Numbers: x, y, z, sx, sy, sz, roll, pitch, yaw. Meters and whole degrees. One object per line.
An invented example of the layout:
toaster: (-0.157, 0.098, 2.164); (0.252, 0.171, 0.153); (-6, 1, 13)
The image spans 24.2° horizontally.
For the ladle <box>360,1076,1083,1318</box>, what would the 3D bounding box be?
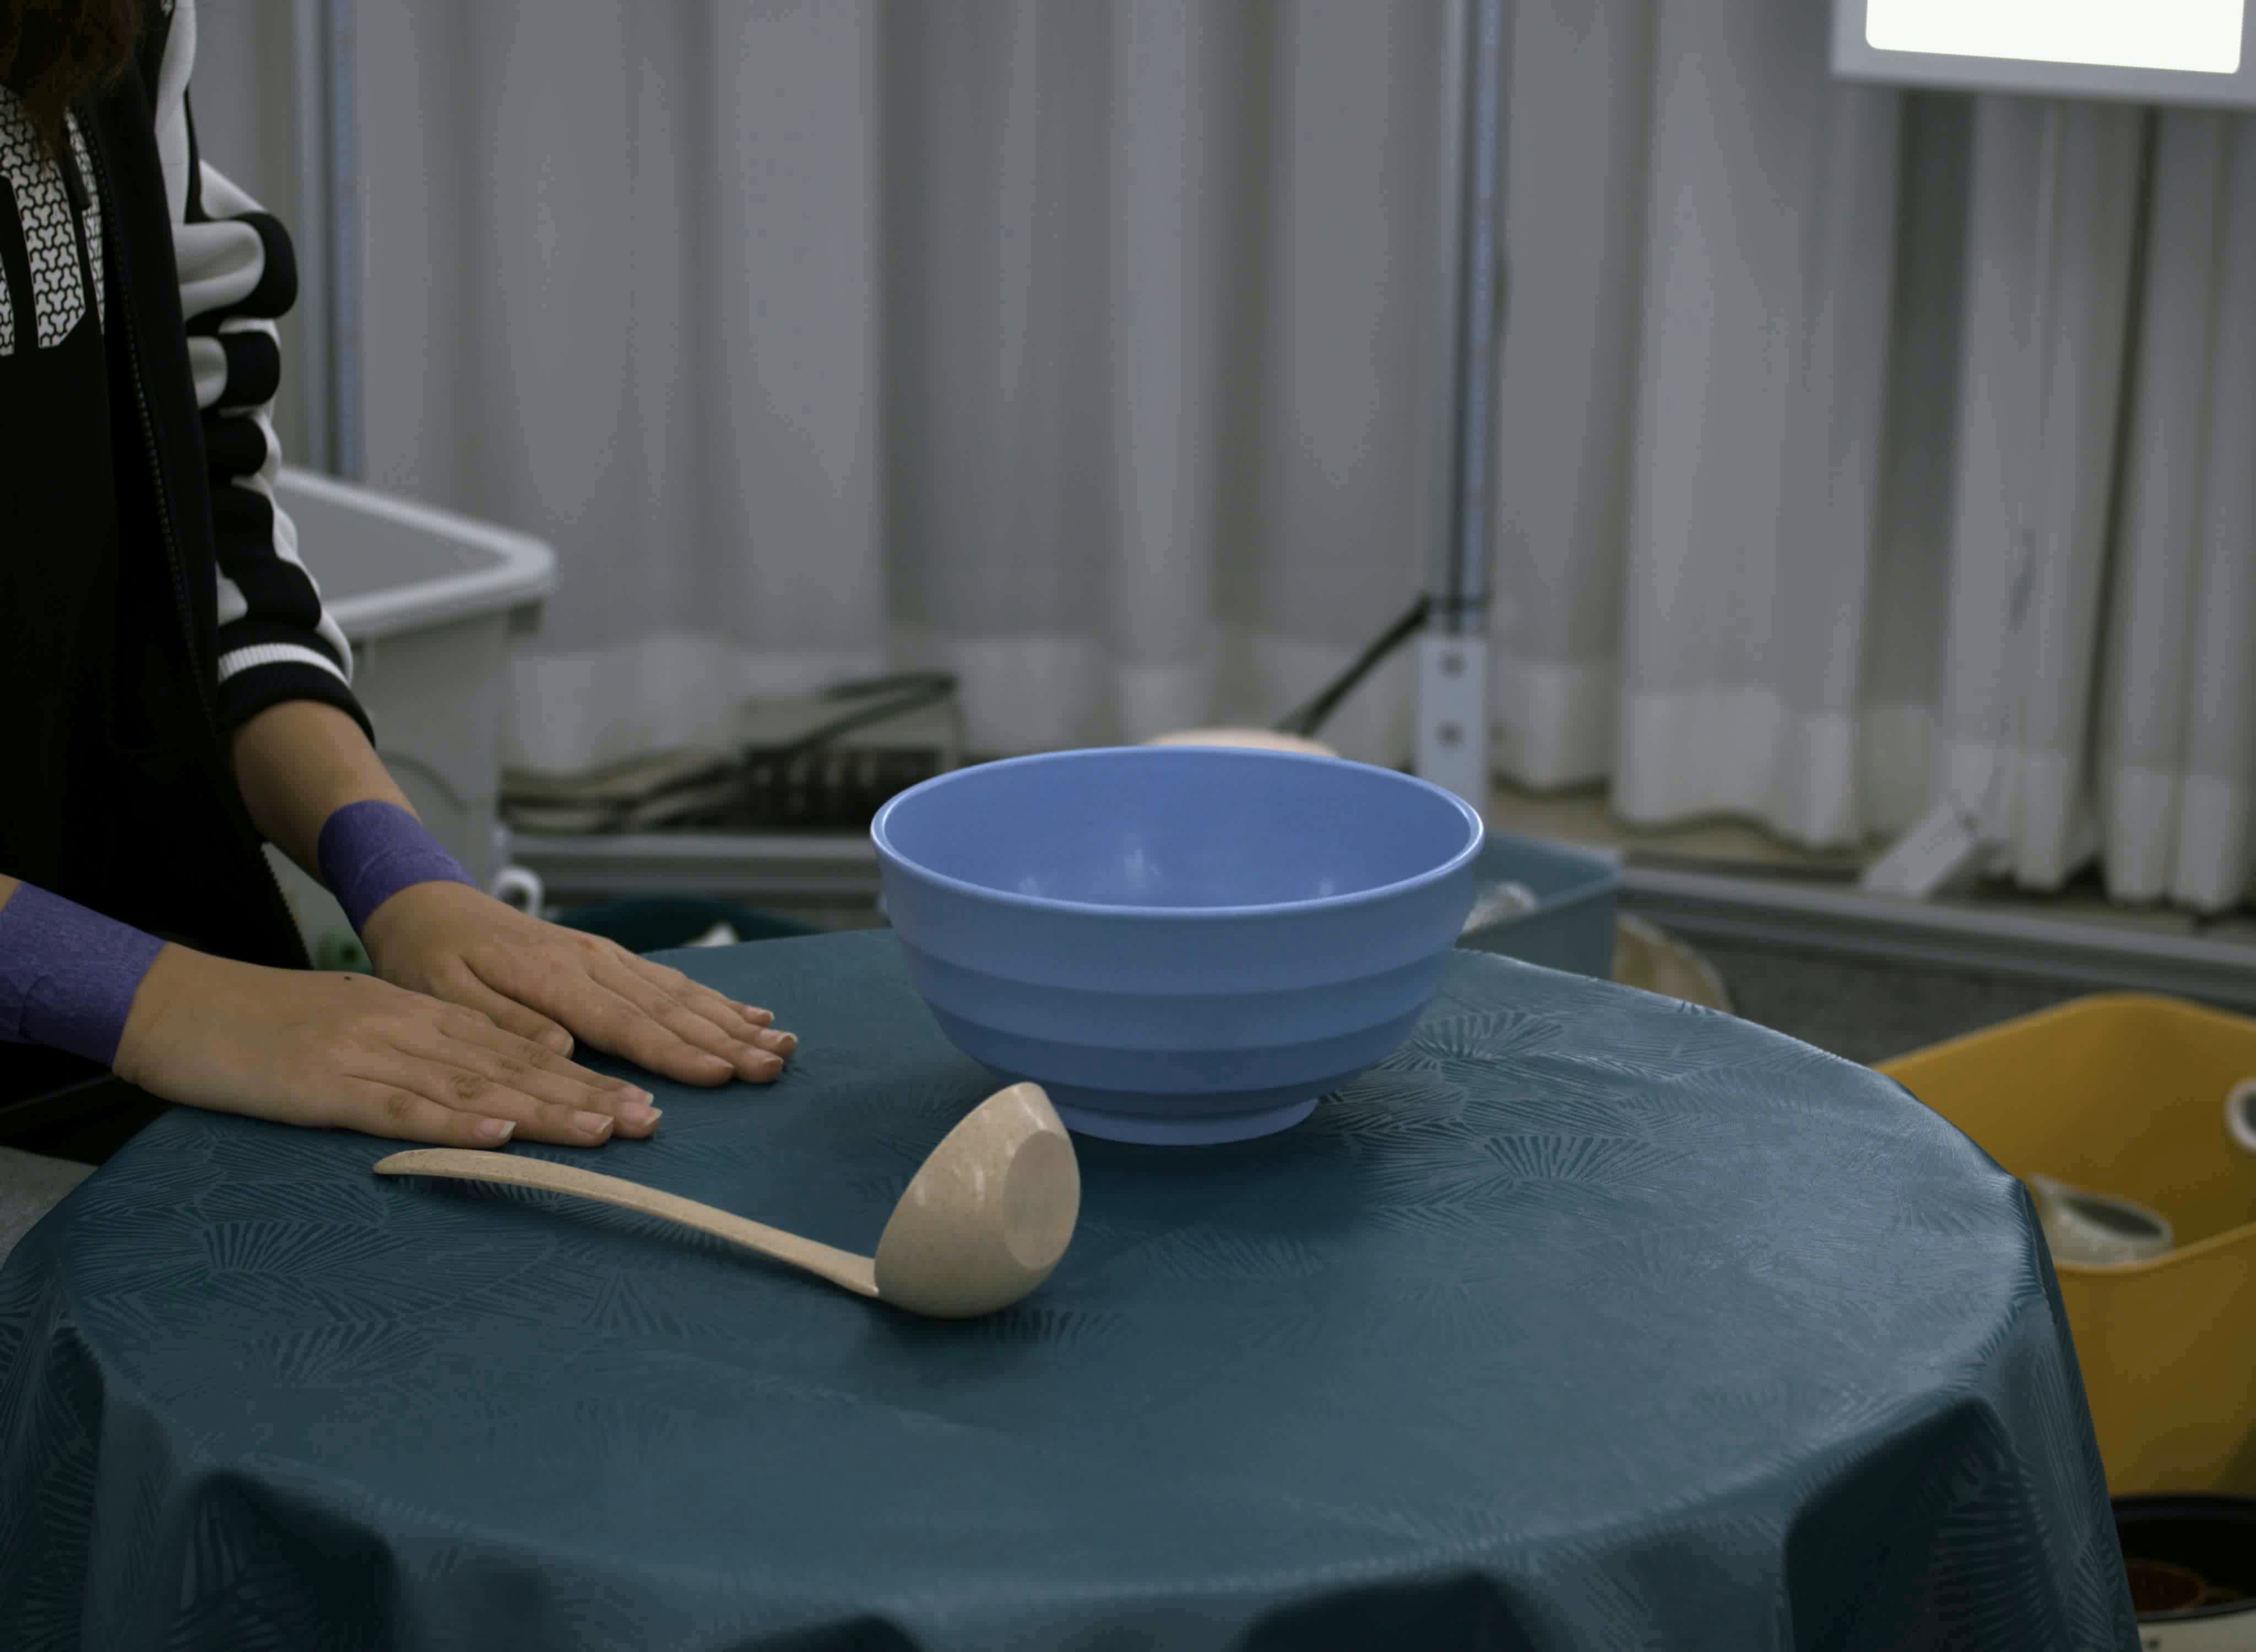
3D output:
ladle: (-0.129, 0.091, 1.556); (0.251, 0.073, 0.072); (10, 17, 30)

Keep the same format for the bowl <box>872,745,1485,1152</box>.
bowl: (0.016, 0.045, 1.692); (0.196, 0.096, 0.195); (1, 16, 0)
